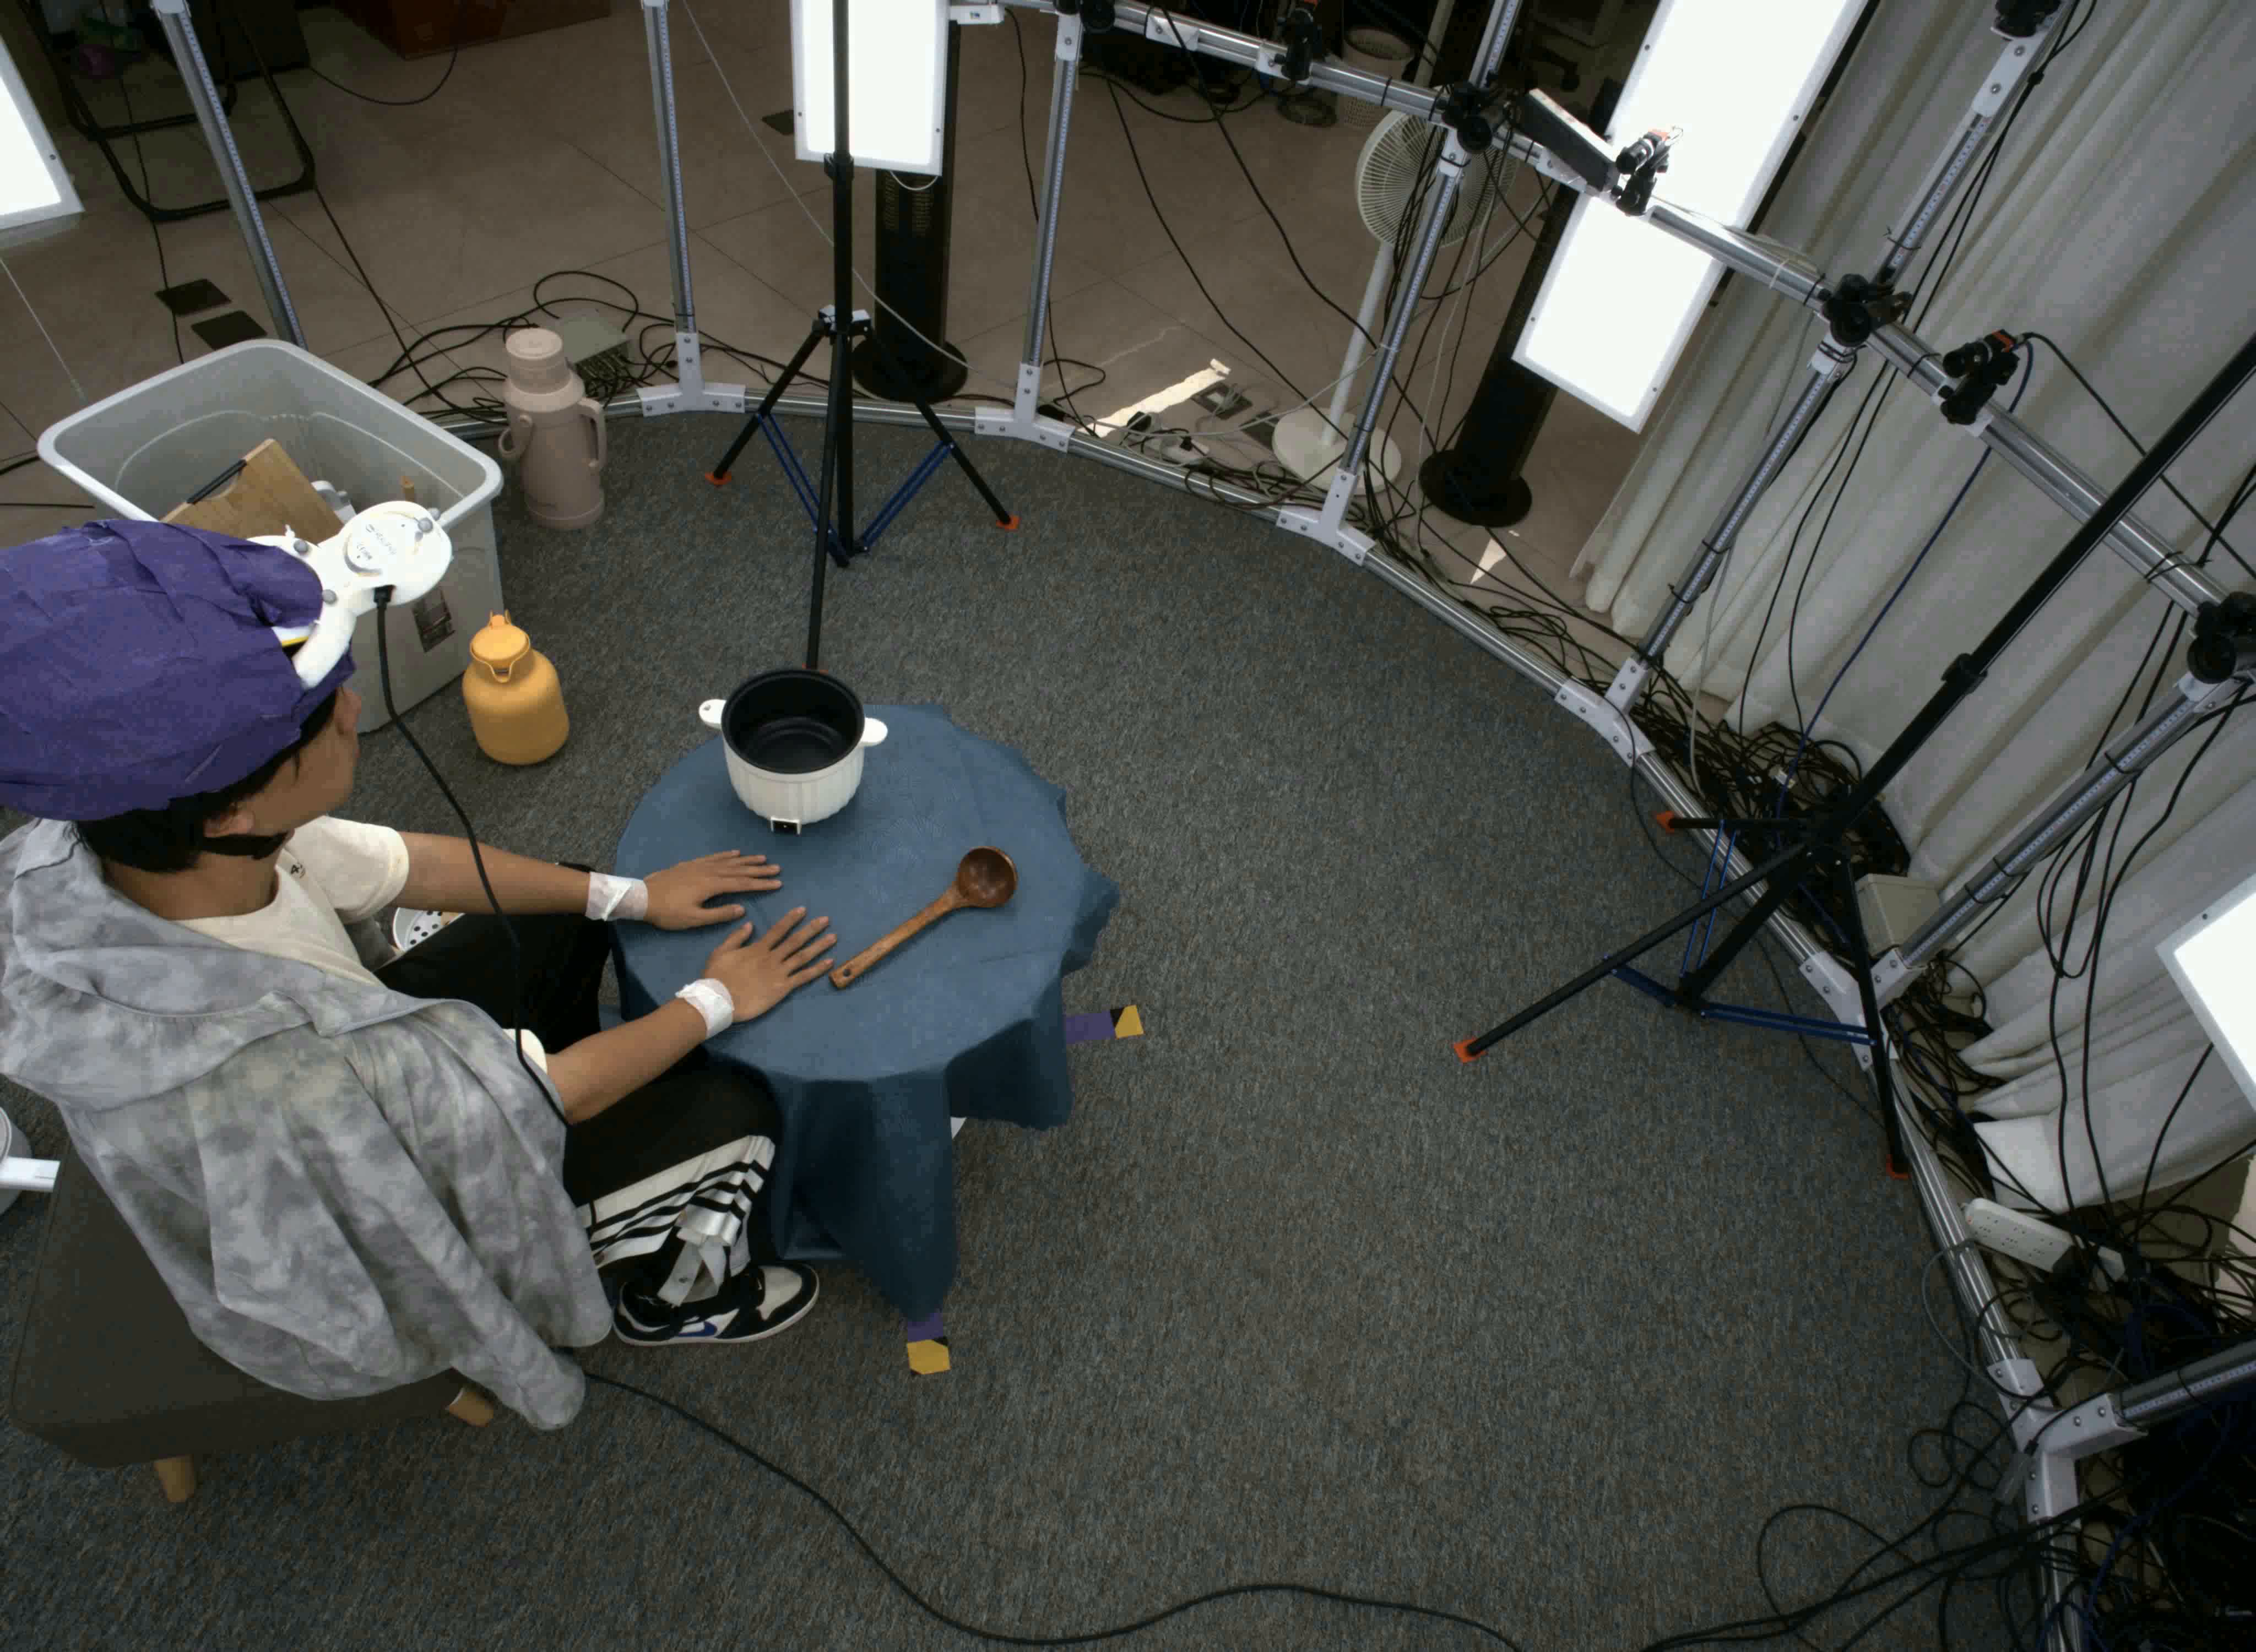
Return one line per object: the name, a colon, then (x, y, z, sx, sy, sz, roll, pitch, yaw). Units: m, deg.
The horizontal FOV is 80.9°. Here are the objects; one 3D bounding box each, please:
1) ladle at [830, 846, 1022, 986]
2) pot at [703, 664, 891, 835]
ladle: (-0.249, 0.116, 1.635, 0.275, 0.076, 0.082, -34, 91, -33)
pot: (-0.434, -0.103, 1.711, 0.240, 0.145, 0.187, 7, 56, -9)
